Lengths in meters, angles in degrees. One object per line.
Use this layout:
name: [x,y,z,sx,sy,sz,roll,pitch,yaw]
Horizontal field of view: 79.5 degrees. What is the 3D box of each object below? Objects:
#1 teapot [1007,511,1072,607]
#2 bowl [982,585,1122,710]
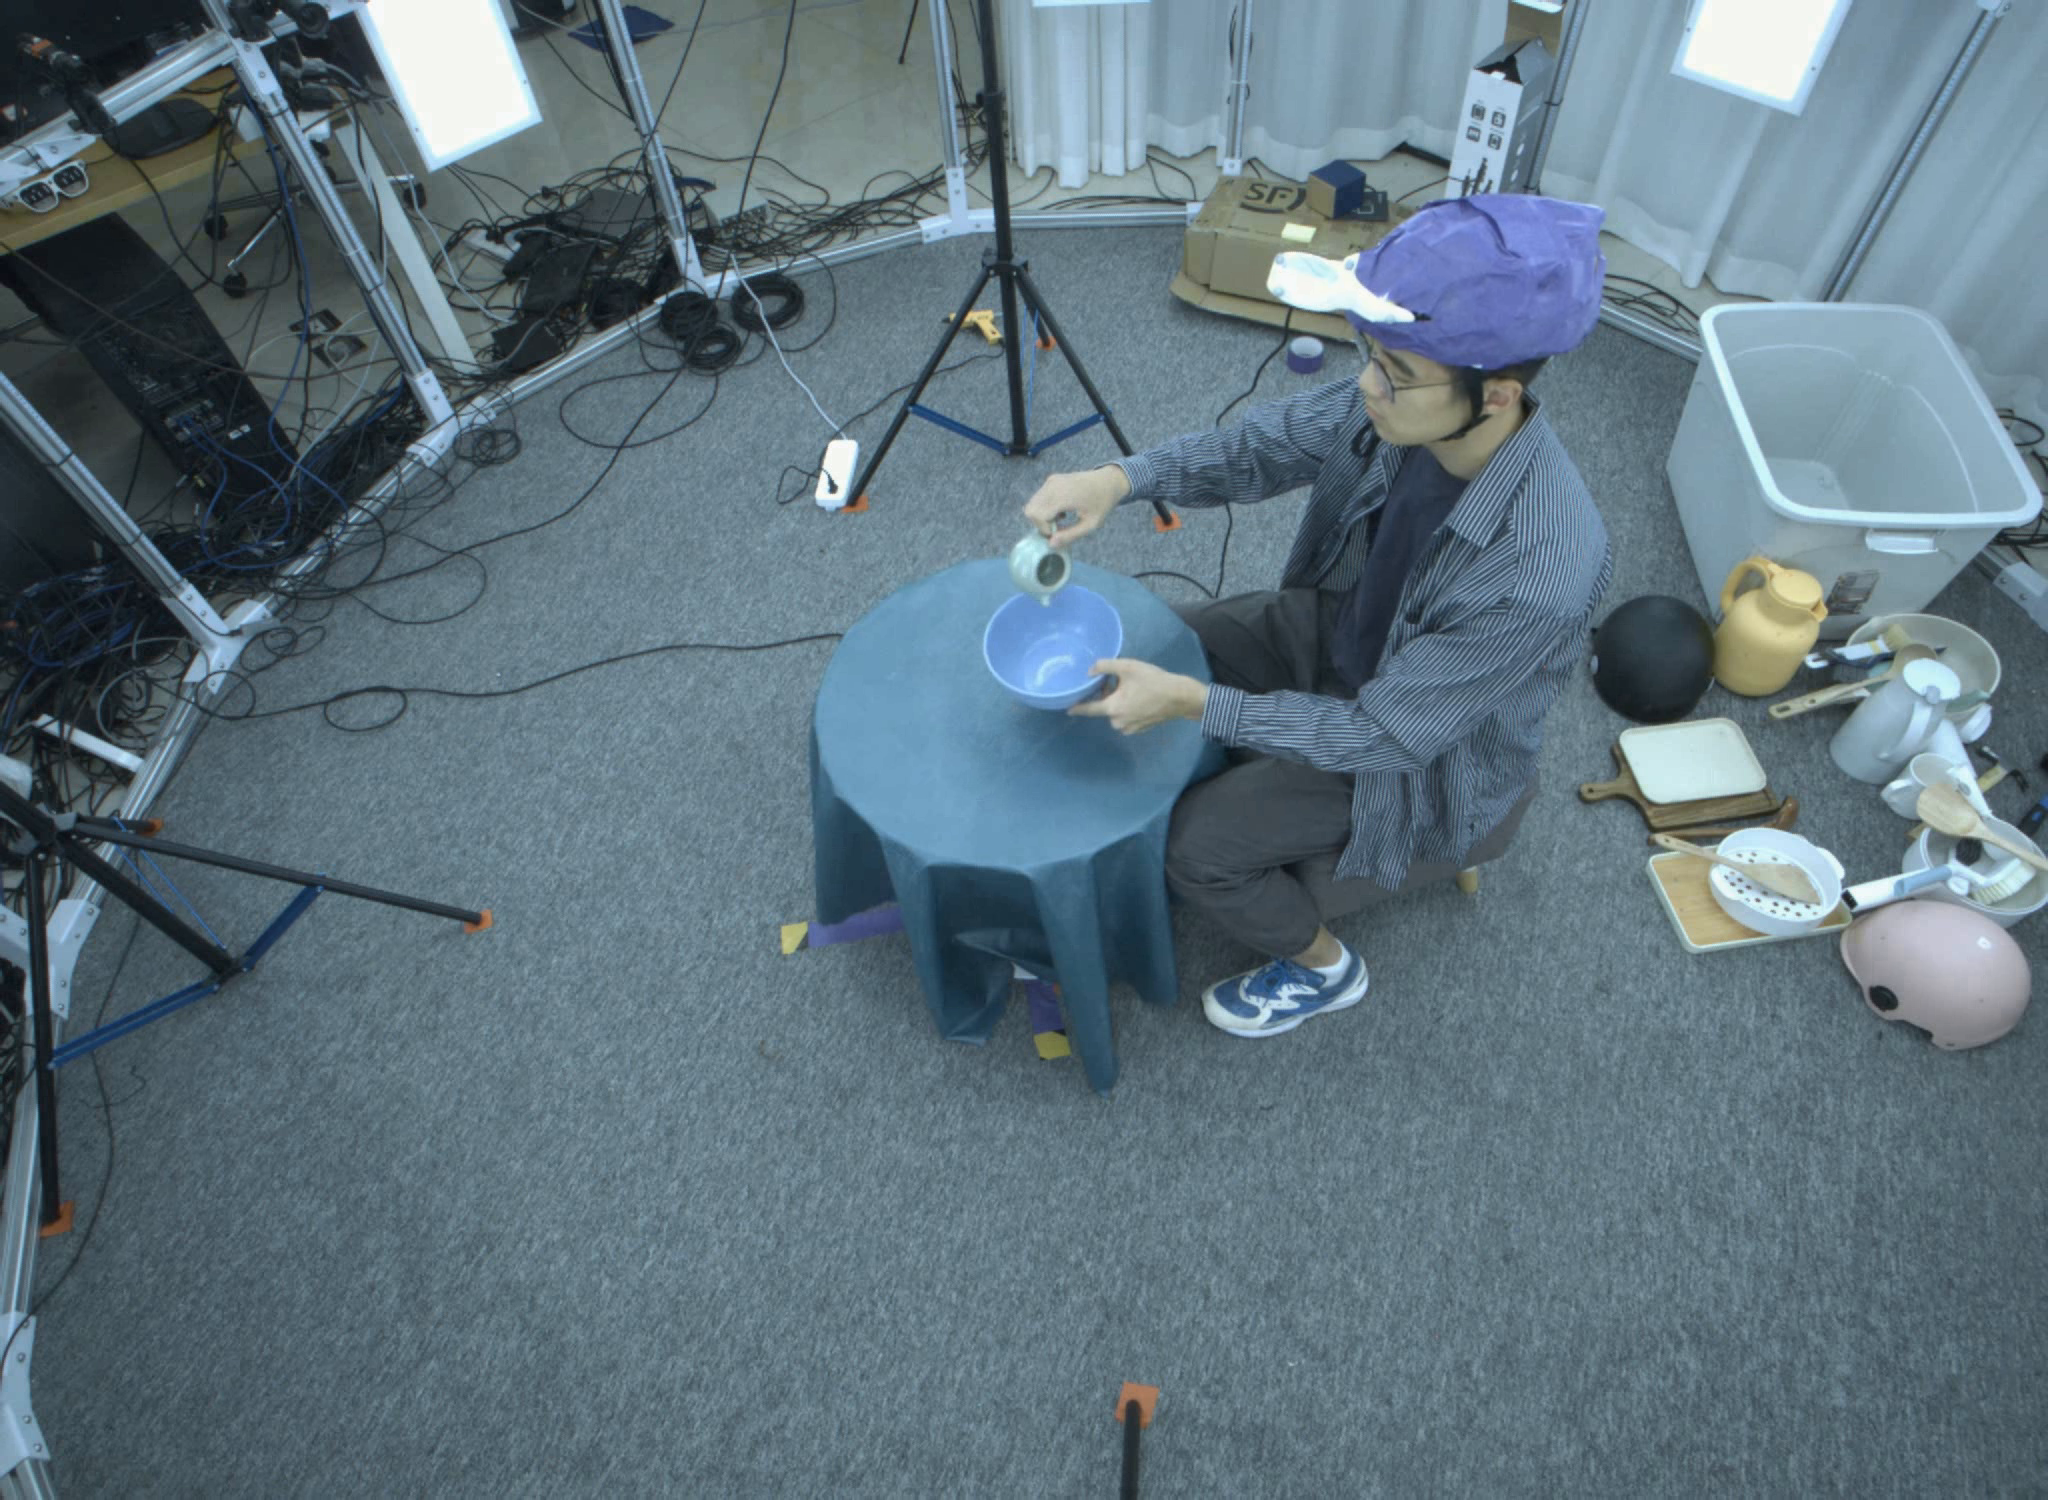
teapot: [0.022,-0.265,1.690,0.093,0.129,0.059,-5,26,-33]
bowl: [0.045,-0.132,1.758,0.196,0.097,0.194,-3,59,6]
